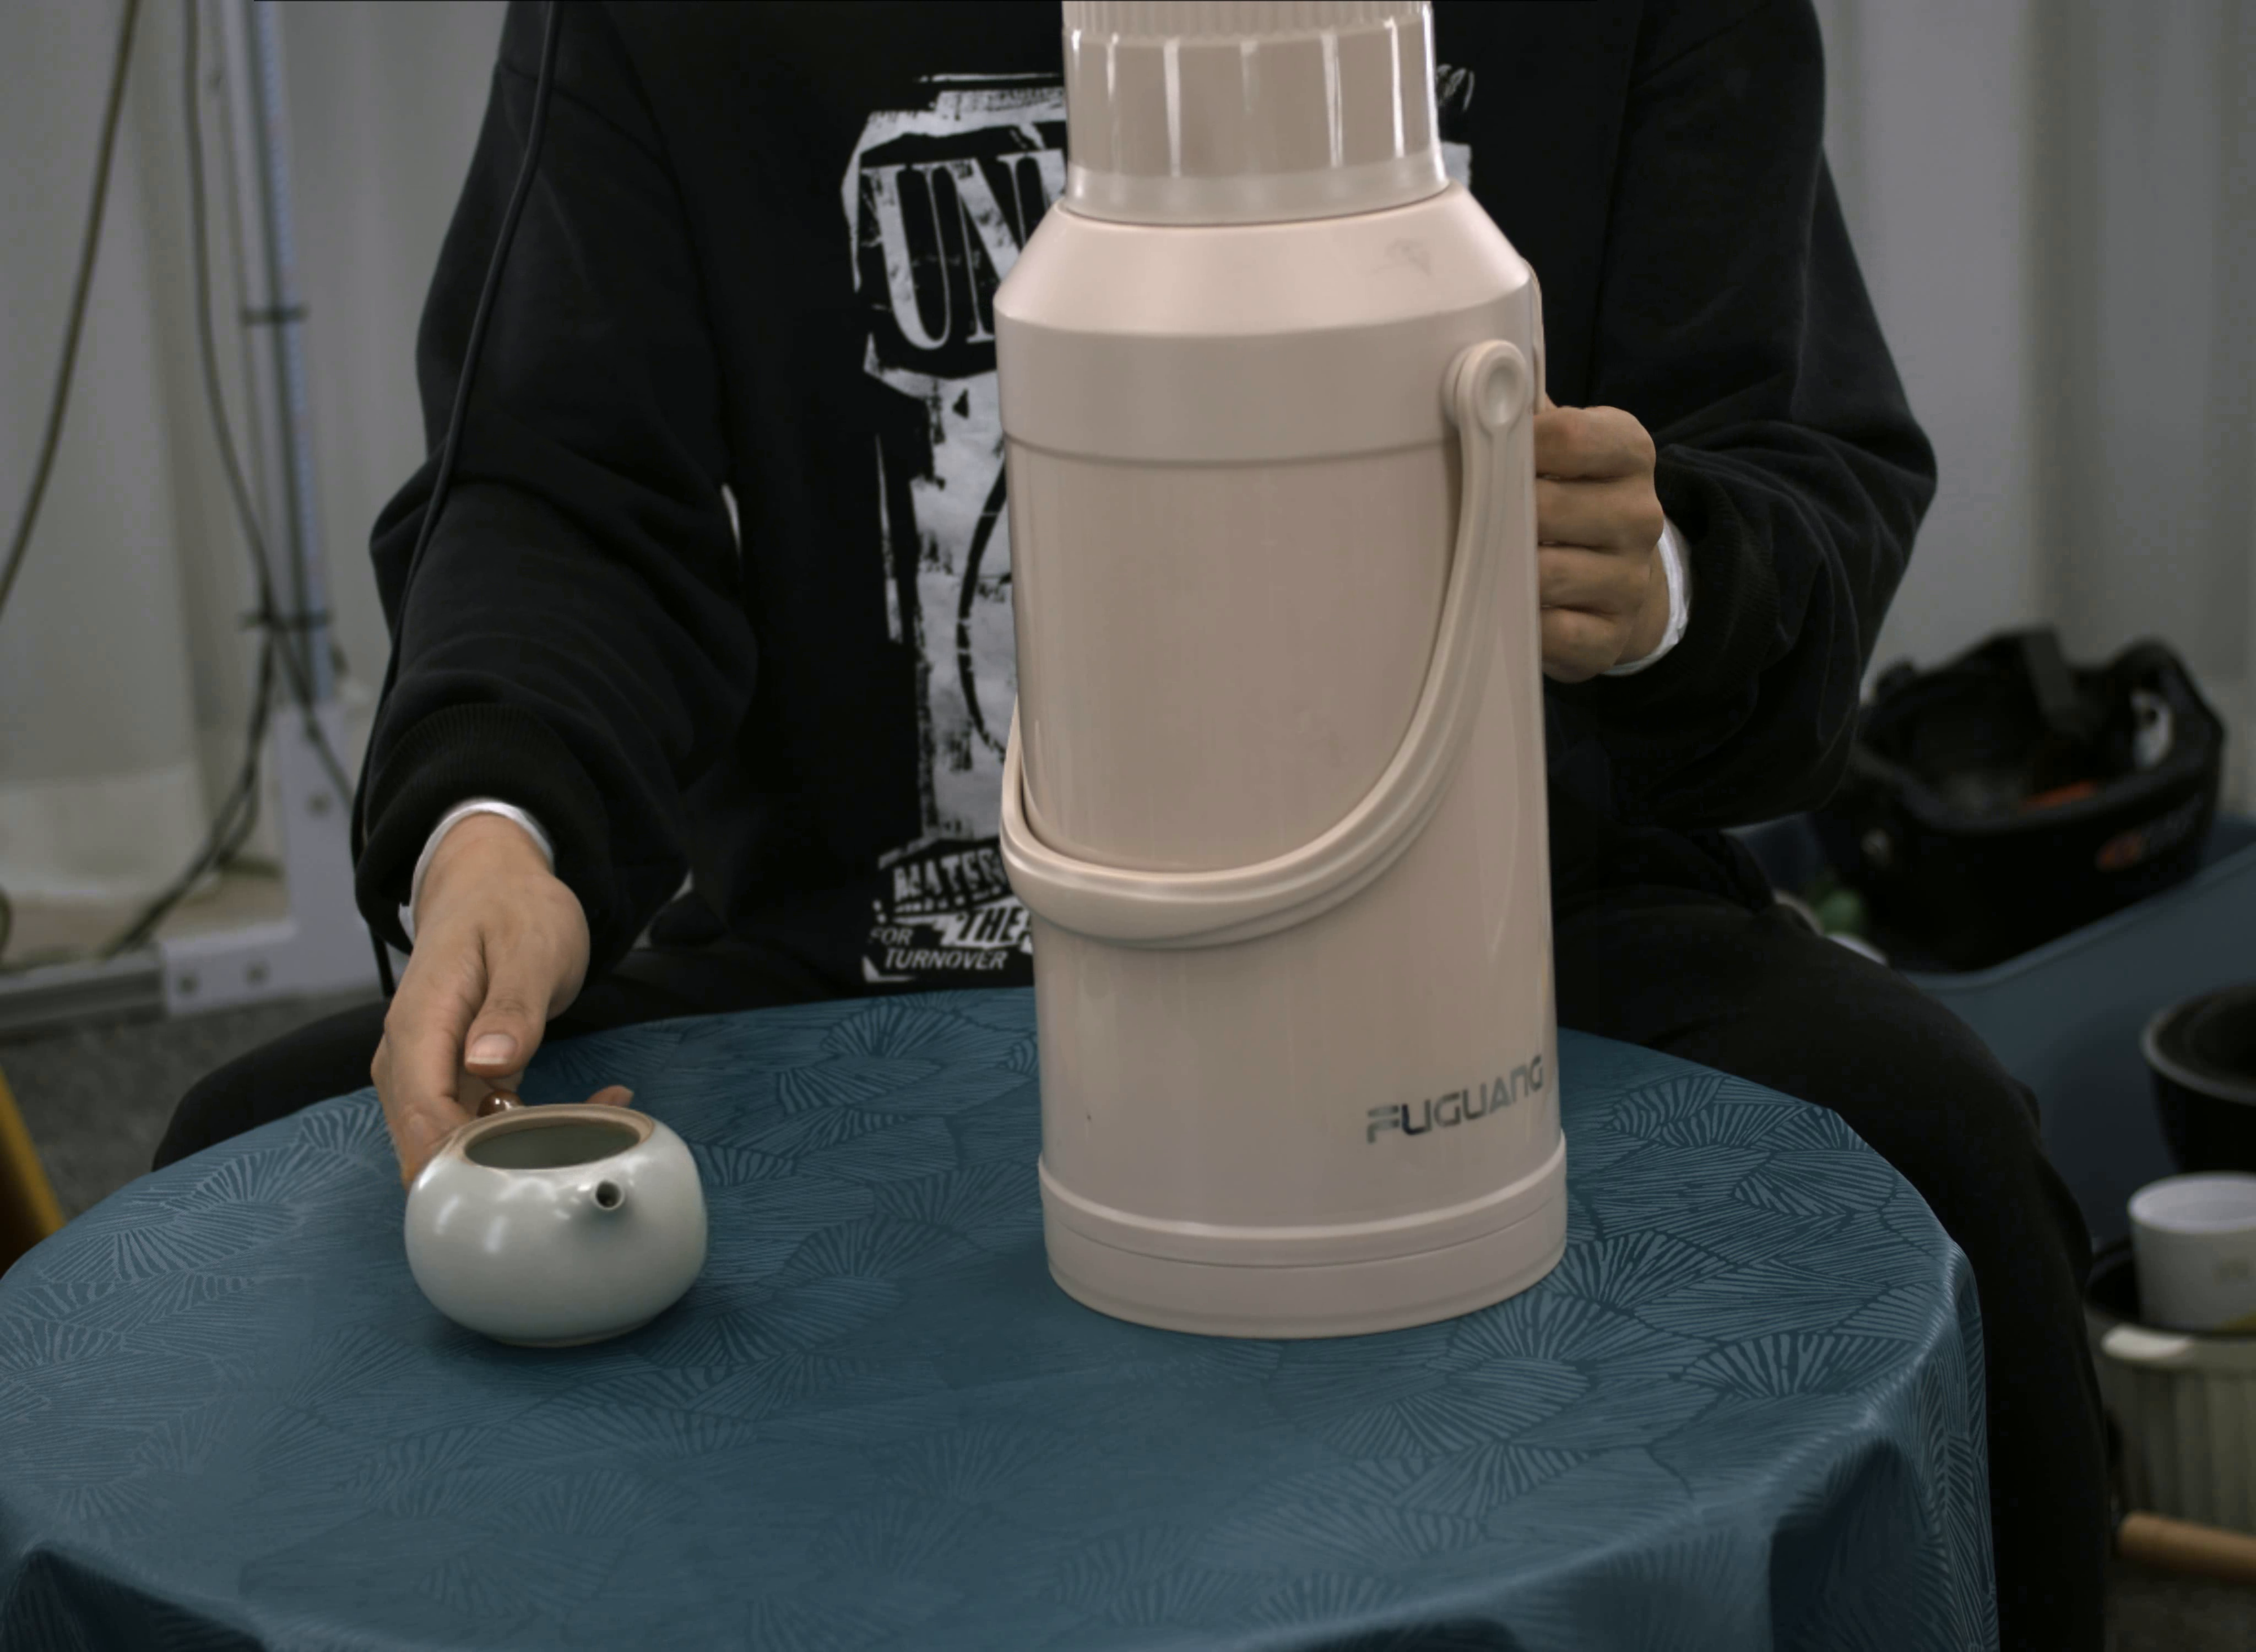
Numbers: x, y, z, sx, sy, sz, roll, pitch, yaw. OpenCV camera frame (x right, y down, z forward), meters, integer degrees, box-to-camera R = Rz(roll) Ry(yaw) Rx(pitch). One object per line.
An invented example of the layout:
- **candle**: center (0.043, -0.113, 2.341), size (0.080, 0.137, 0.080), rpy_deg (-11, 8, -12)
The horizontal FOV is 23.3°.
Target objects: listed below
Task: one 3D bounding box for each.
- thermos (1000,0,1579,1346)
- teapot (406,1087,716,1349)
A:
- **thermos**: center (0.056, -0.065, 1.615), size (0.176, 0.405, 0.207), rpy_deg (7, 17, 41)
- **teapot**: center (-0.172, 0.116, 1.630), size (0.091, 0.059, 0.129), rpy_deg (-12, 19, -23)
